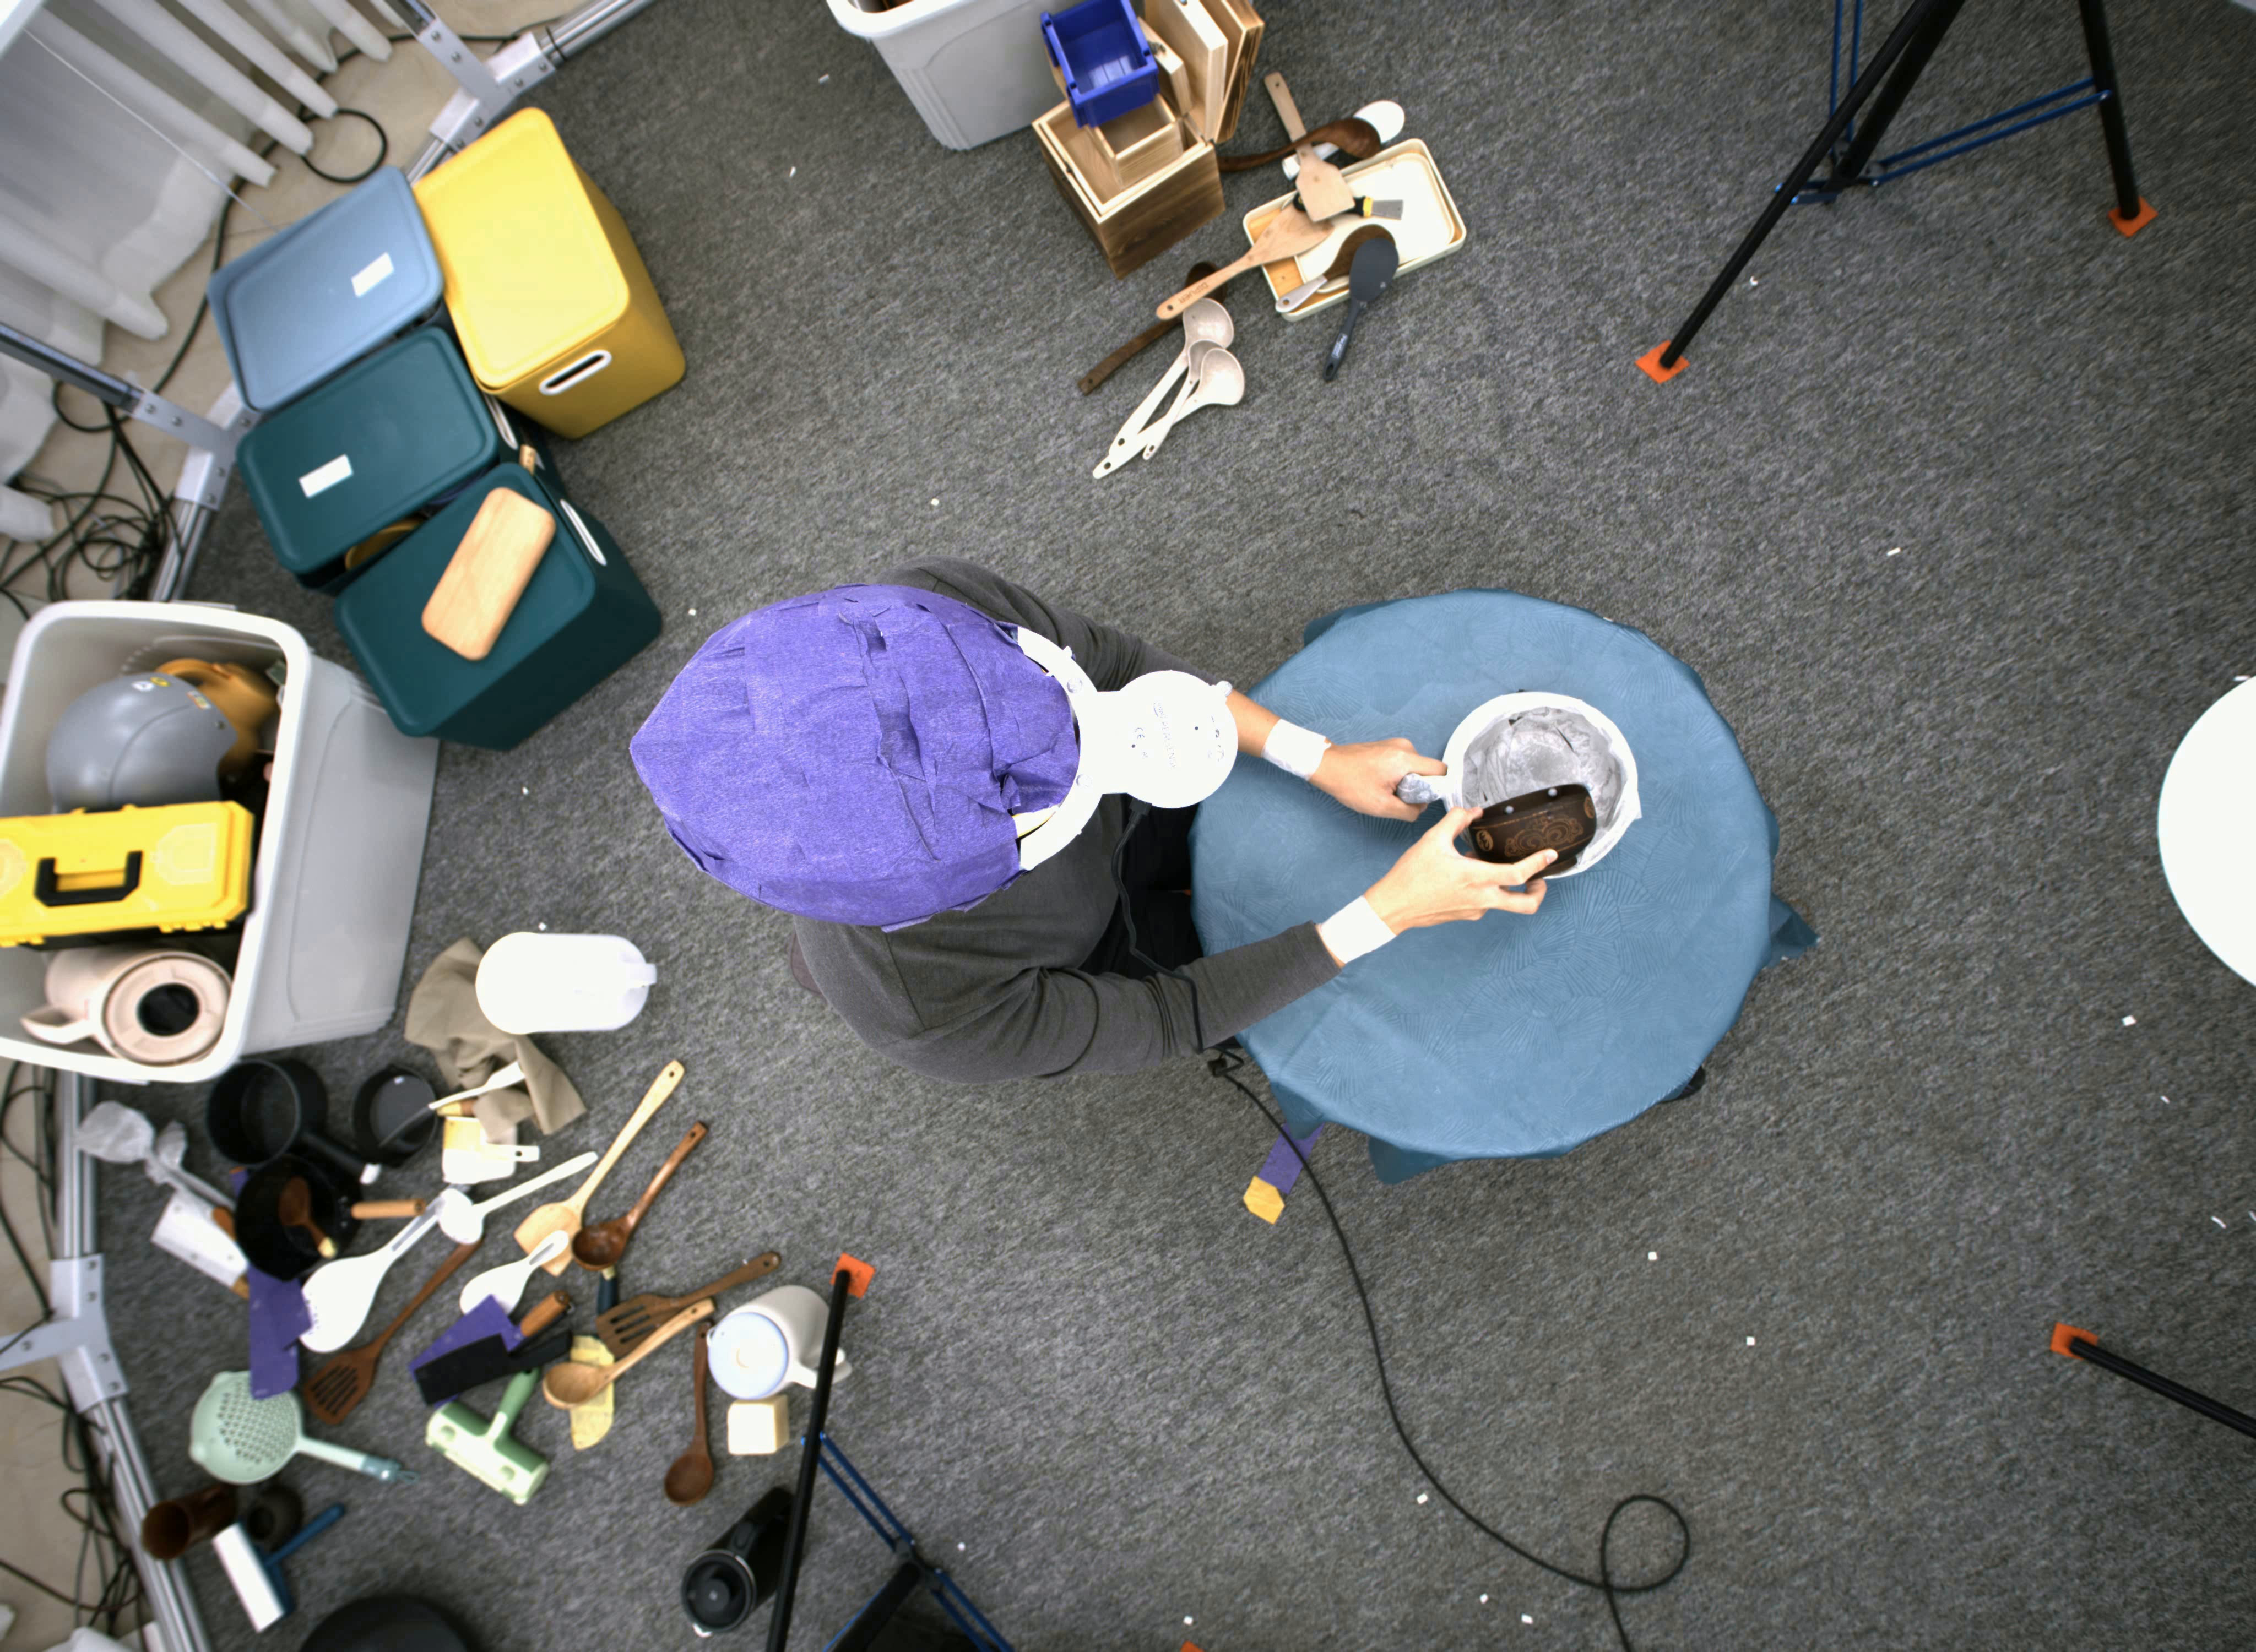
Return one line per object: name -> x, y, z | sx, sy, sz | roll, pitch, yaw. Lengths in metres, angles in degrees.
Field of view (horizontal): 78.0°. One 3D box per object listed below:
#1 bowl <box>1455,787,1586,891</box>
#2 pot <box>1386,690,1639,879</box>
bowl -> 0.372, 0.016, 1.282 | 0.118, 0.117, 0.070 | -25, 92, 7
pot -> 0.376, -0.045, 1.366 | 0.235, 0.135, 0.180 | -3, 98, 10
